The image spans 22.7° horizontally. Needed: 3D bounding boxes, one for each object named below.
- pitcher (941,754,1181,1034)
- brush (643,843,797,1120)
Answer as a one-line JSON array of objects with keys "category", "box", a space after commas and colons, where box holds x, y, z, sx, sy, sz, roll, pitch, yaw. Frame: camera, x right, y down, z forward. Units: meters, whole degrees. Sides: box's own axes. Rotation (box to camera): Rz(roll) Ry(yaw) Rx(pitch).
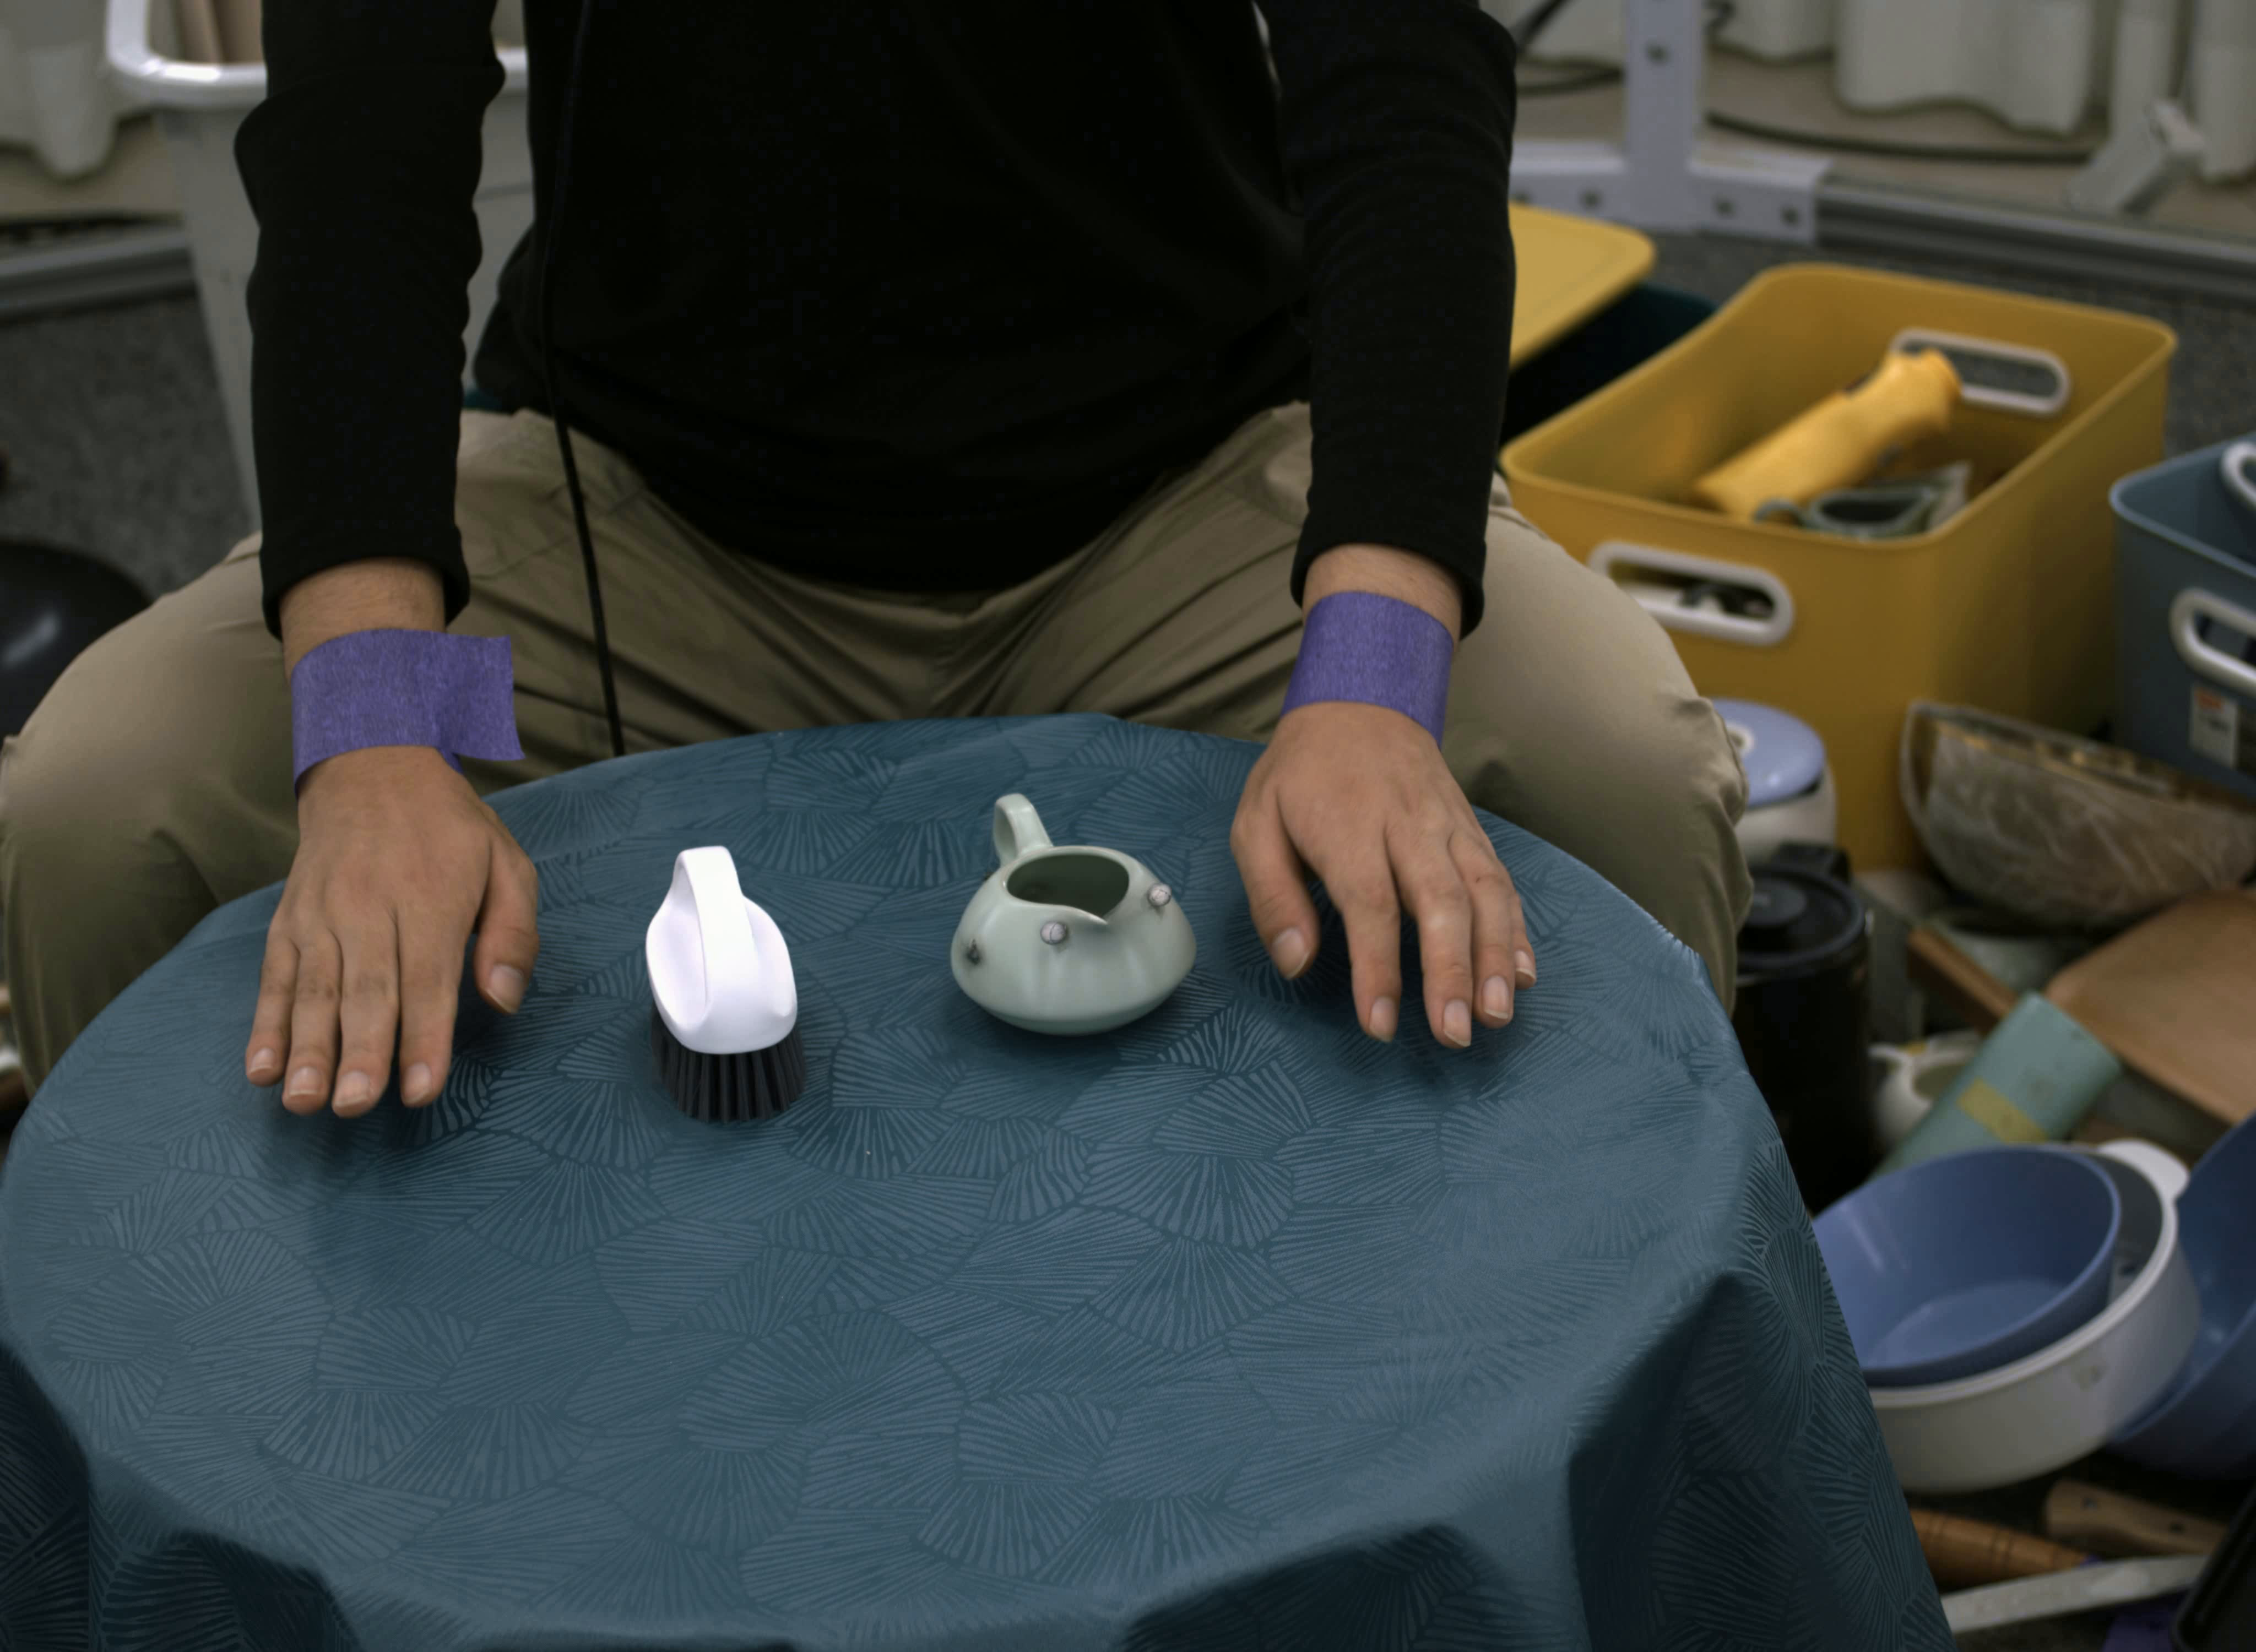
[{"category": "pitcher", "box": [-0.028, 0.025, 1.982, 0.085, 0.059, 0.110, -15, 44, 0]}, {"category": "brush", "box": [-0.142, 0.047, 1.940, 0.050, 0.072, 0.100, -5, 28, -8]}]
